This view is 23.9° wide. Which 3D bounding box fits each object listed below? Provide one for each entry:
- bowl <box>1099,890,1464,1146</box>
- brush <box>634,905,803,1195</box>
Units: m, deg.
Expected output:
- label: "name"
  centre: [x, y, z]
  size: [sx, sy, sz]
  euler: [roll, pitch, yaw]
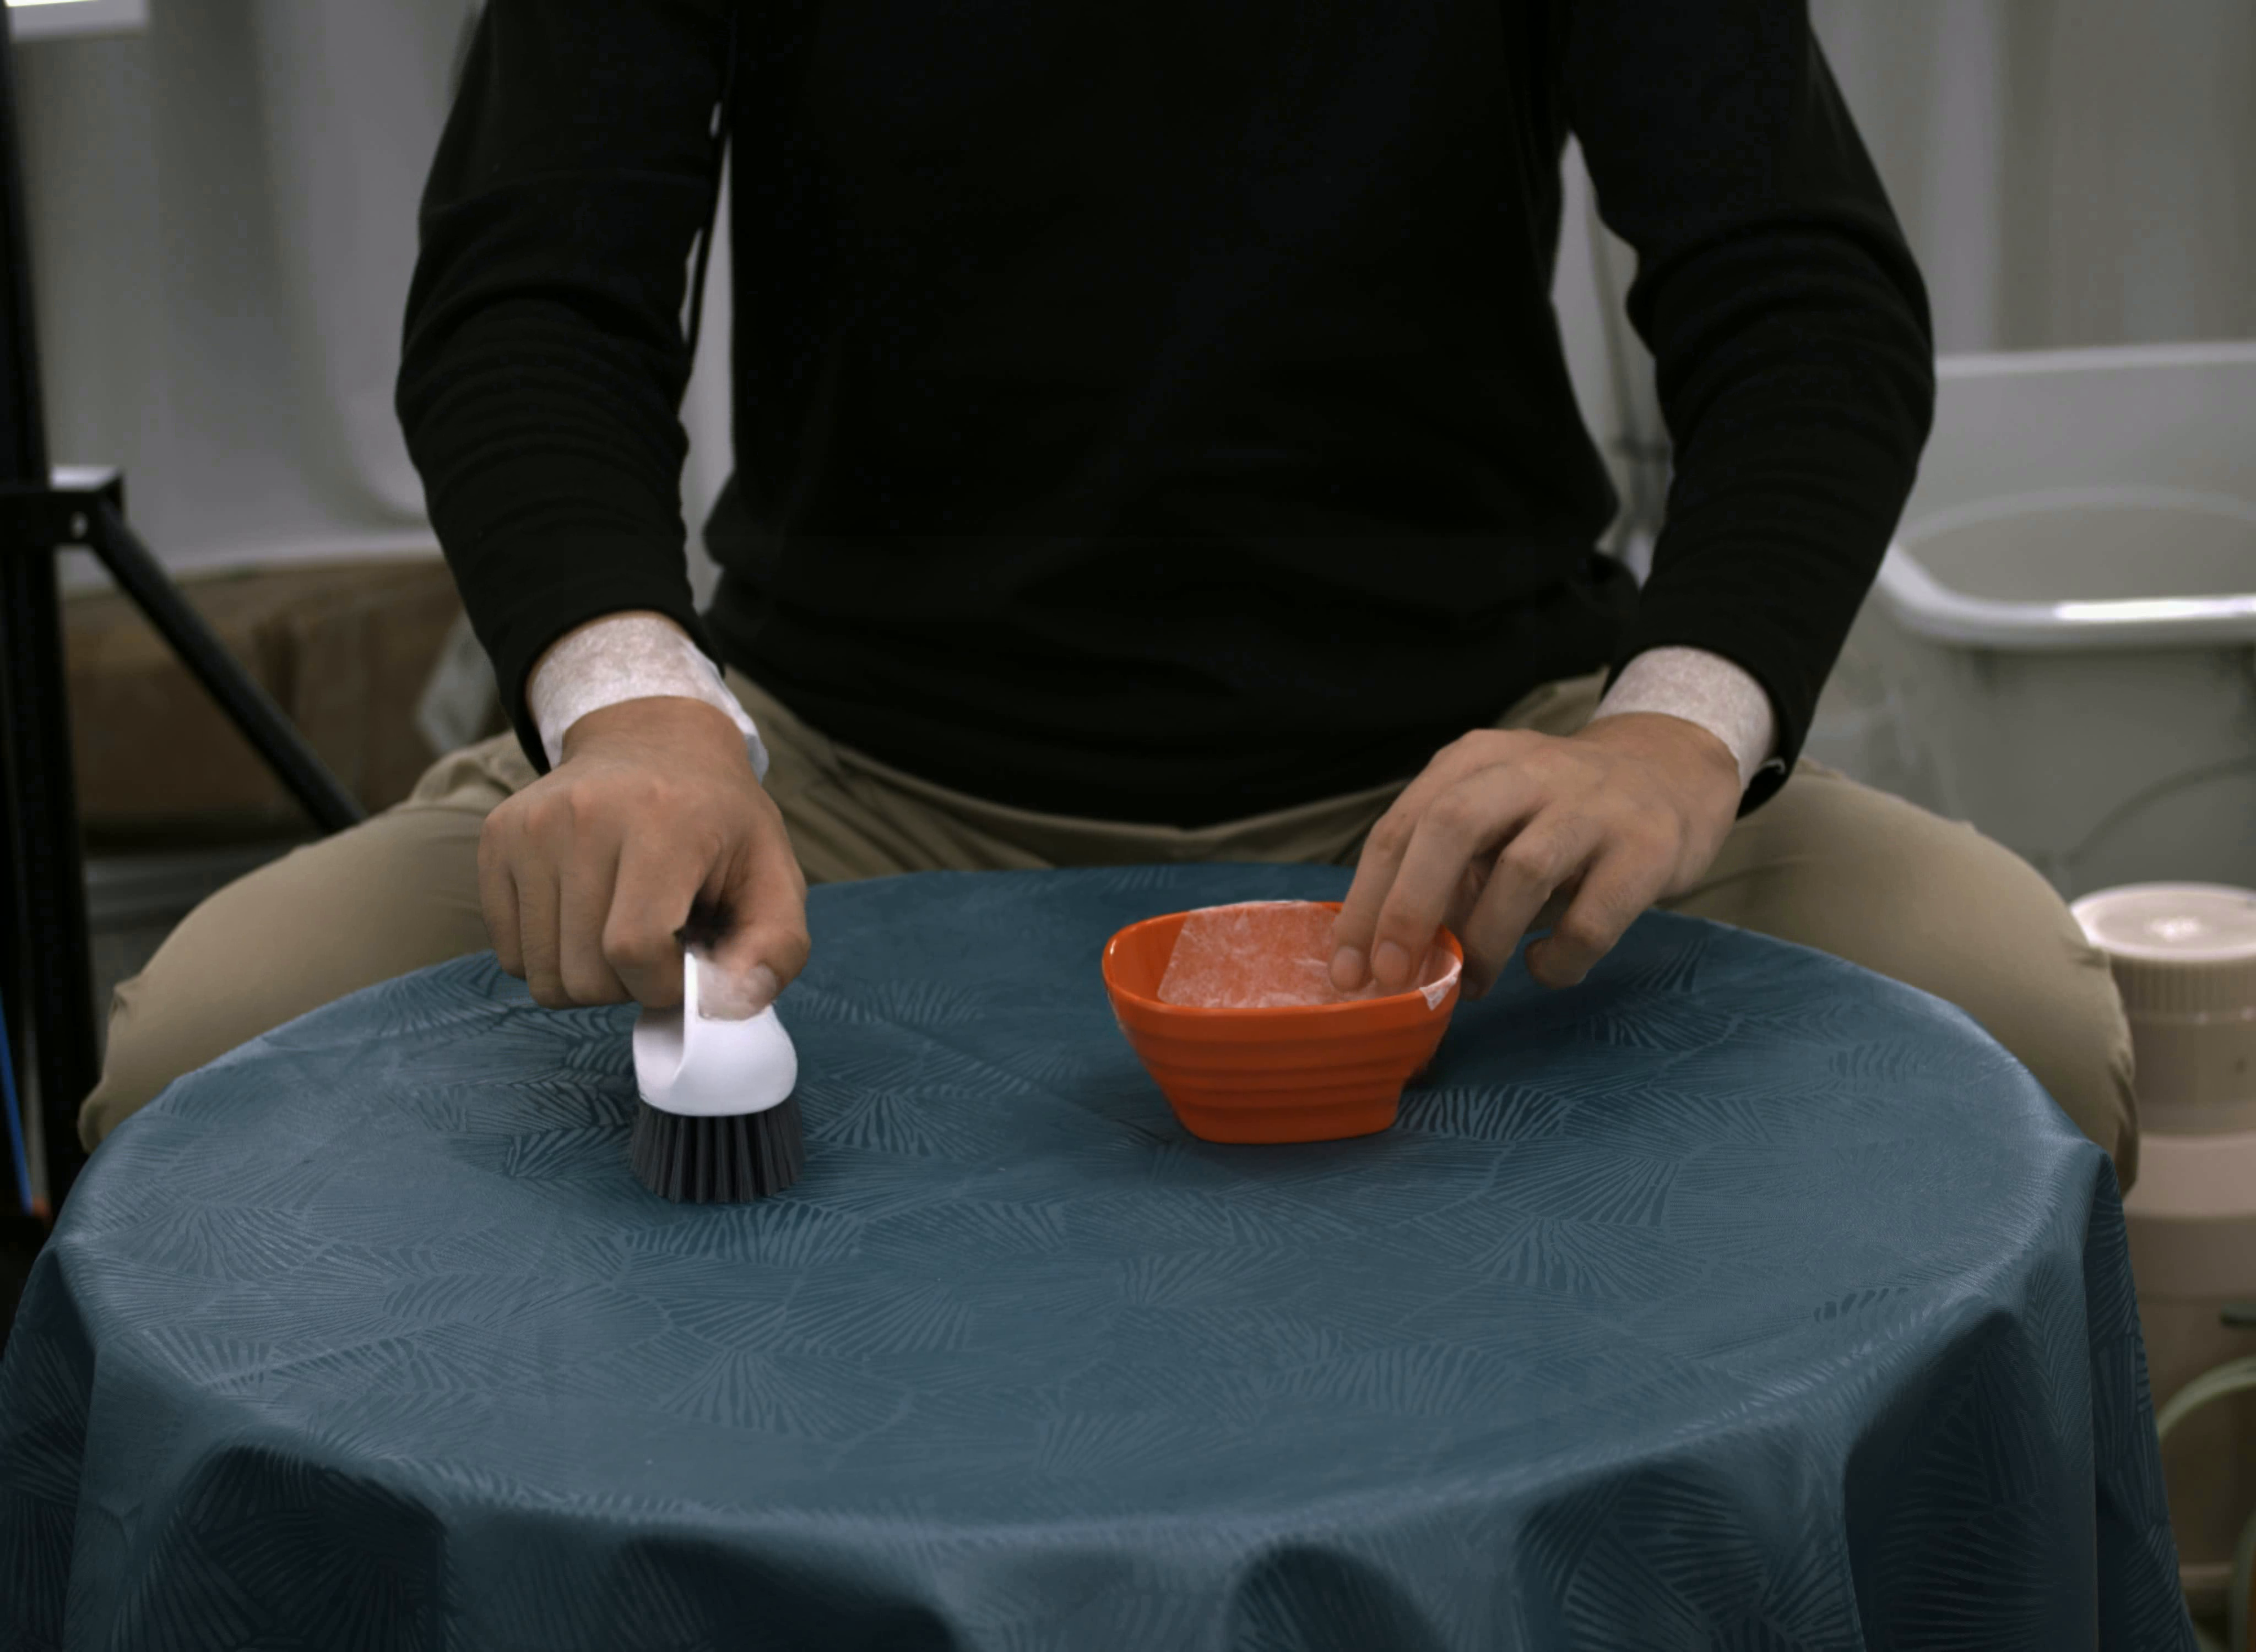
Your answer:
- label: "bowl"
  centre: [0.047, 0.061, 1.617]
  size: [0.118, 0.051, 0.119]
  euler: [-4, 18, 0]
- label: "brush"
  centre: [-0.124, 0.062, 1.604]
  size: [0.050, 0.072, 0.100]
  euler: [-4, 15, -2]
